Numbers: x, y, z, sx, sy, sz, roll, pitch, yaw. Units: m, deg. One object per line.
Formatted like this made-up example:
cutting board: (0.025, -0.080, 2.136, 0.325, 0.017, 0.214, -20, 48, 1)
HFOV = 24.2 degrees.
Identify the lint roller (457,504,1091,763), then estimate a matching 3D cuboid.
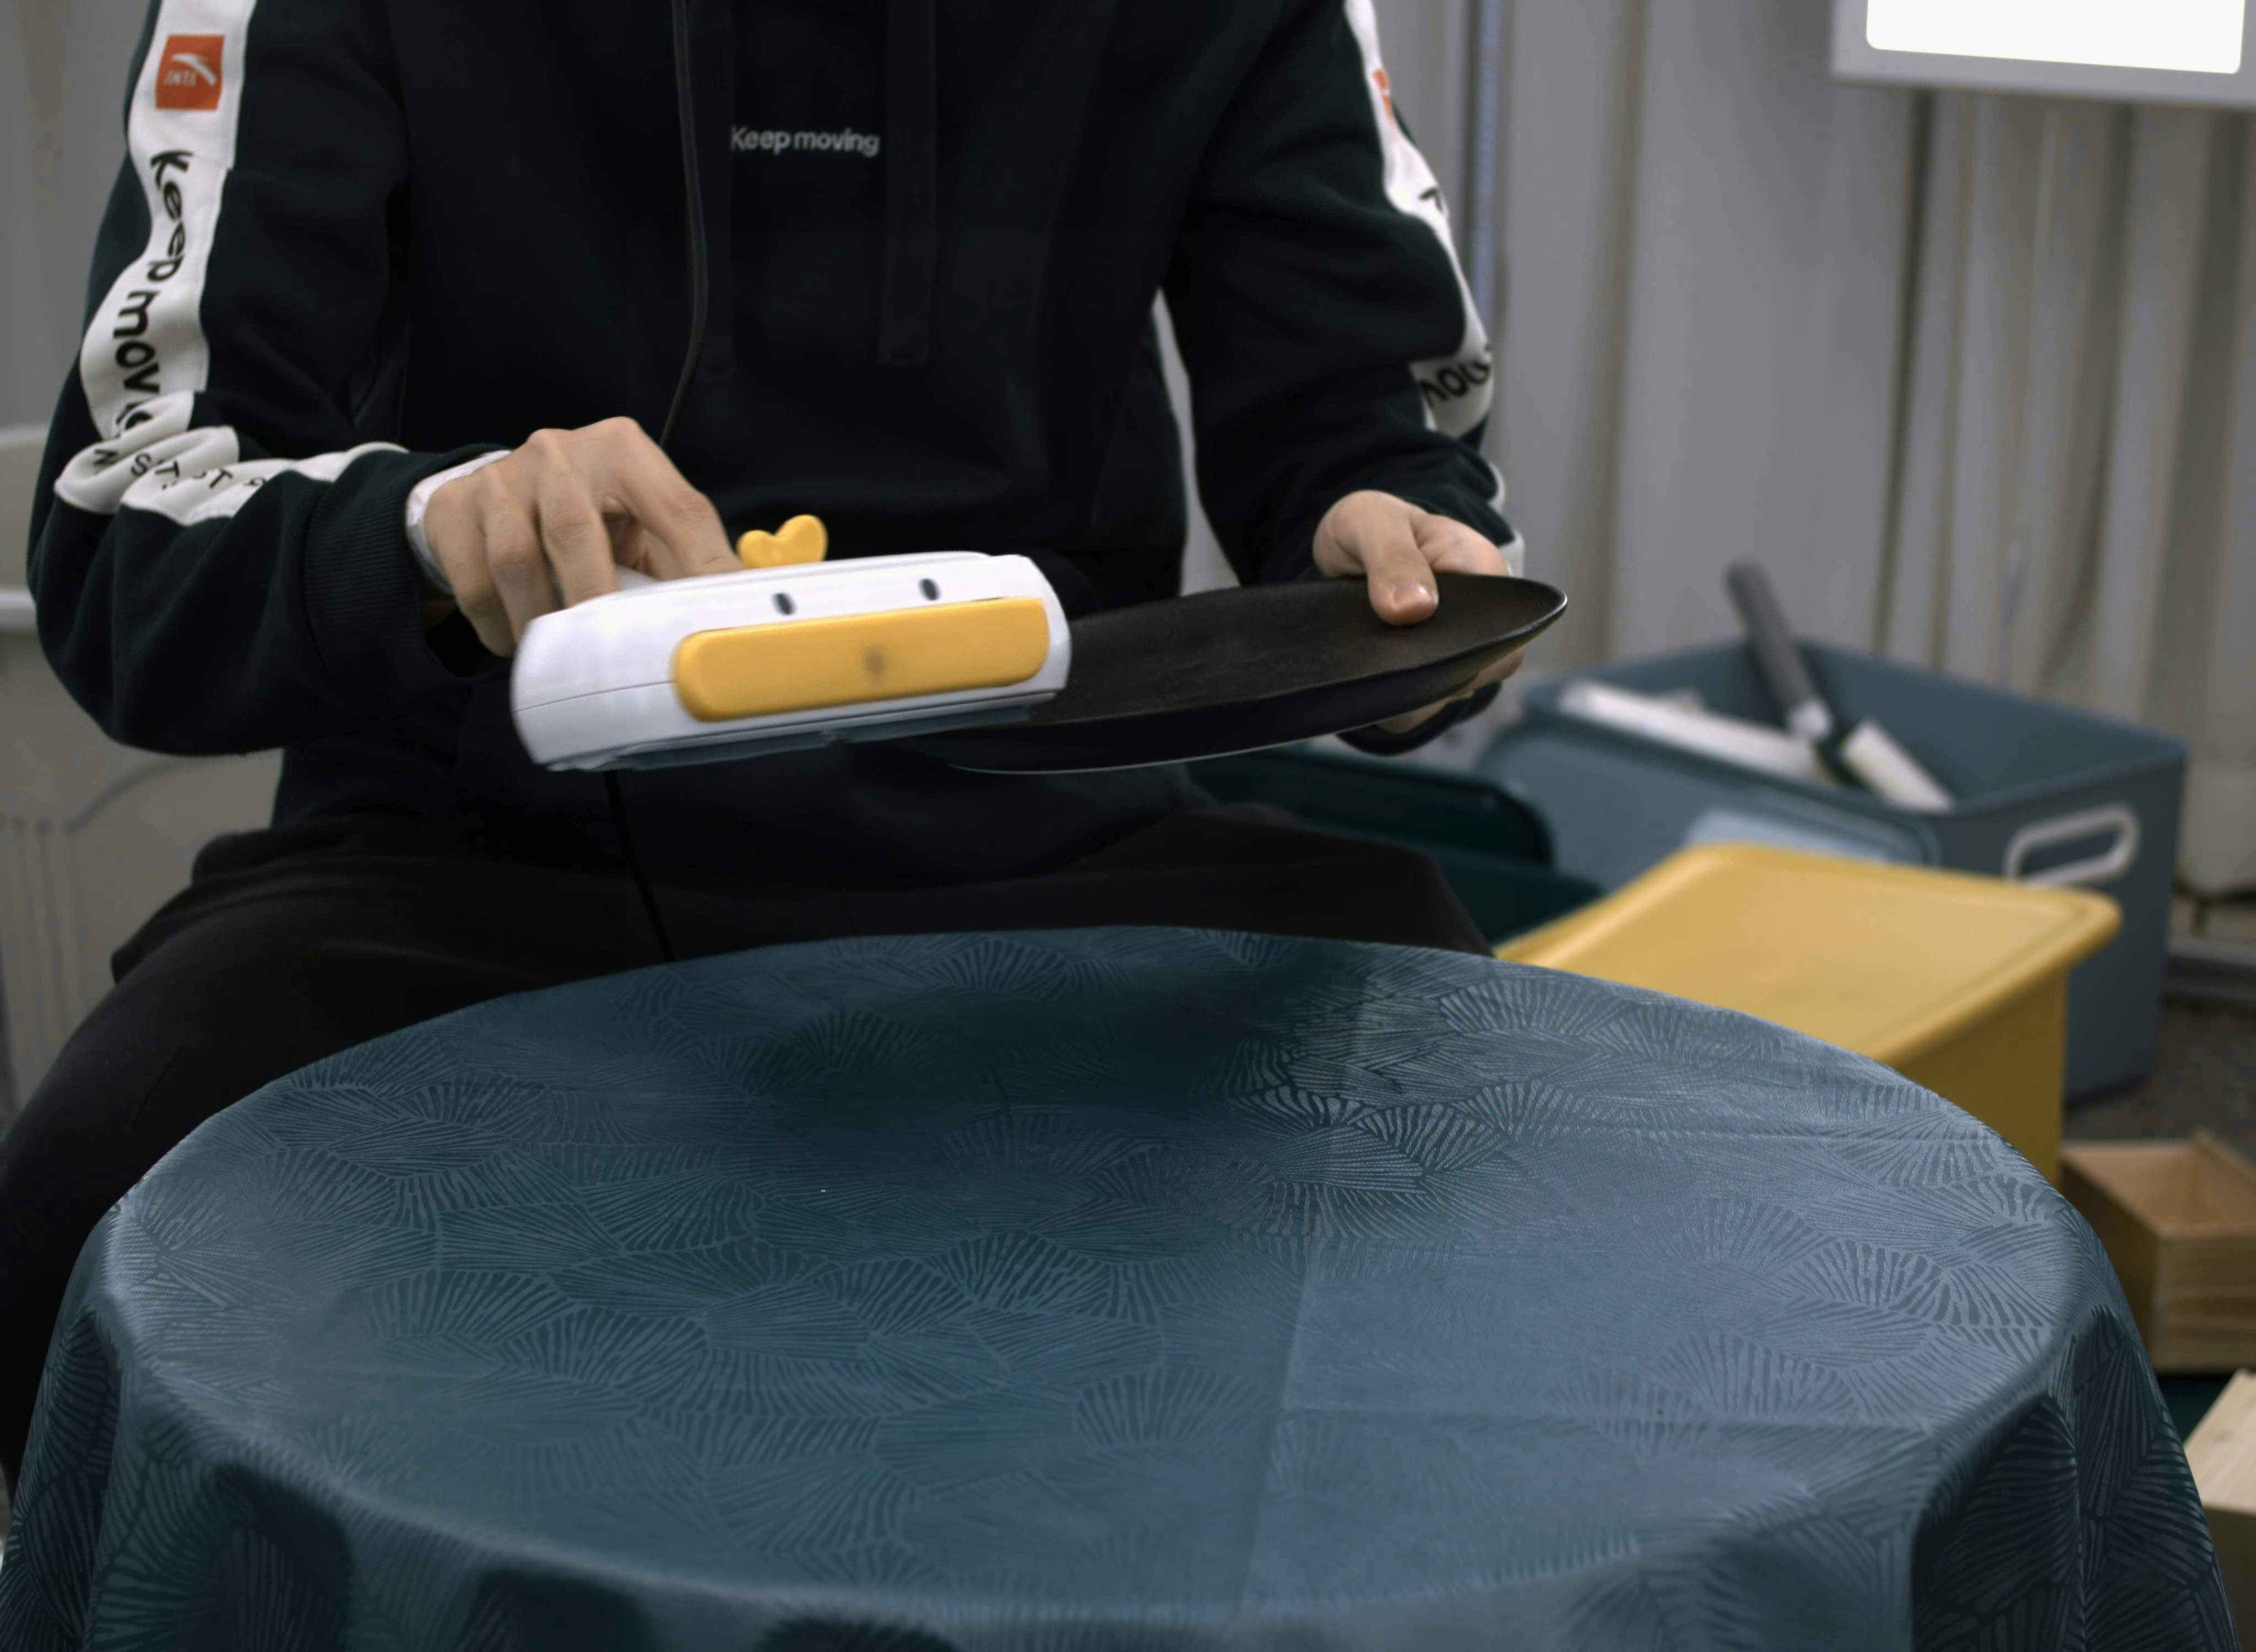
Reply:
lint roller: (-0.137, -0.060, 1.651, 0.190, 0.074, 0.194, 0, 11, 43)

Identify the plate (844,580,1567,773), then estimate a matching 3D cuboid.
plate: (0.025, -0.048, 1.723, 0.243, 0.023, 0.243, -8, 9, 2)
